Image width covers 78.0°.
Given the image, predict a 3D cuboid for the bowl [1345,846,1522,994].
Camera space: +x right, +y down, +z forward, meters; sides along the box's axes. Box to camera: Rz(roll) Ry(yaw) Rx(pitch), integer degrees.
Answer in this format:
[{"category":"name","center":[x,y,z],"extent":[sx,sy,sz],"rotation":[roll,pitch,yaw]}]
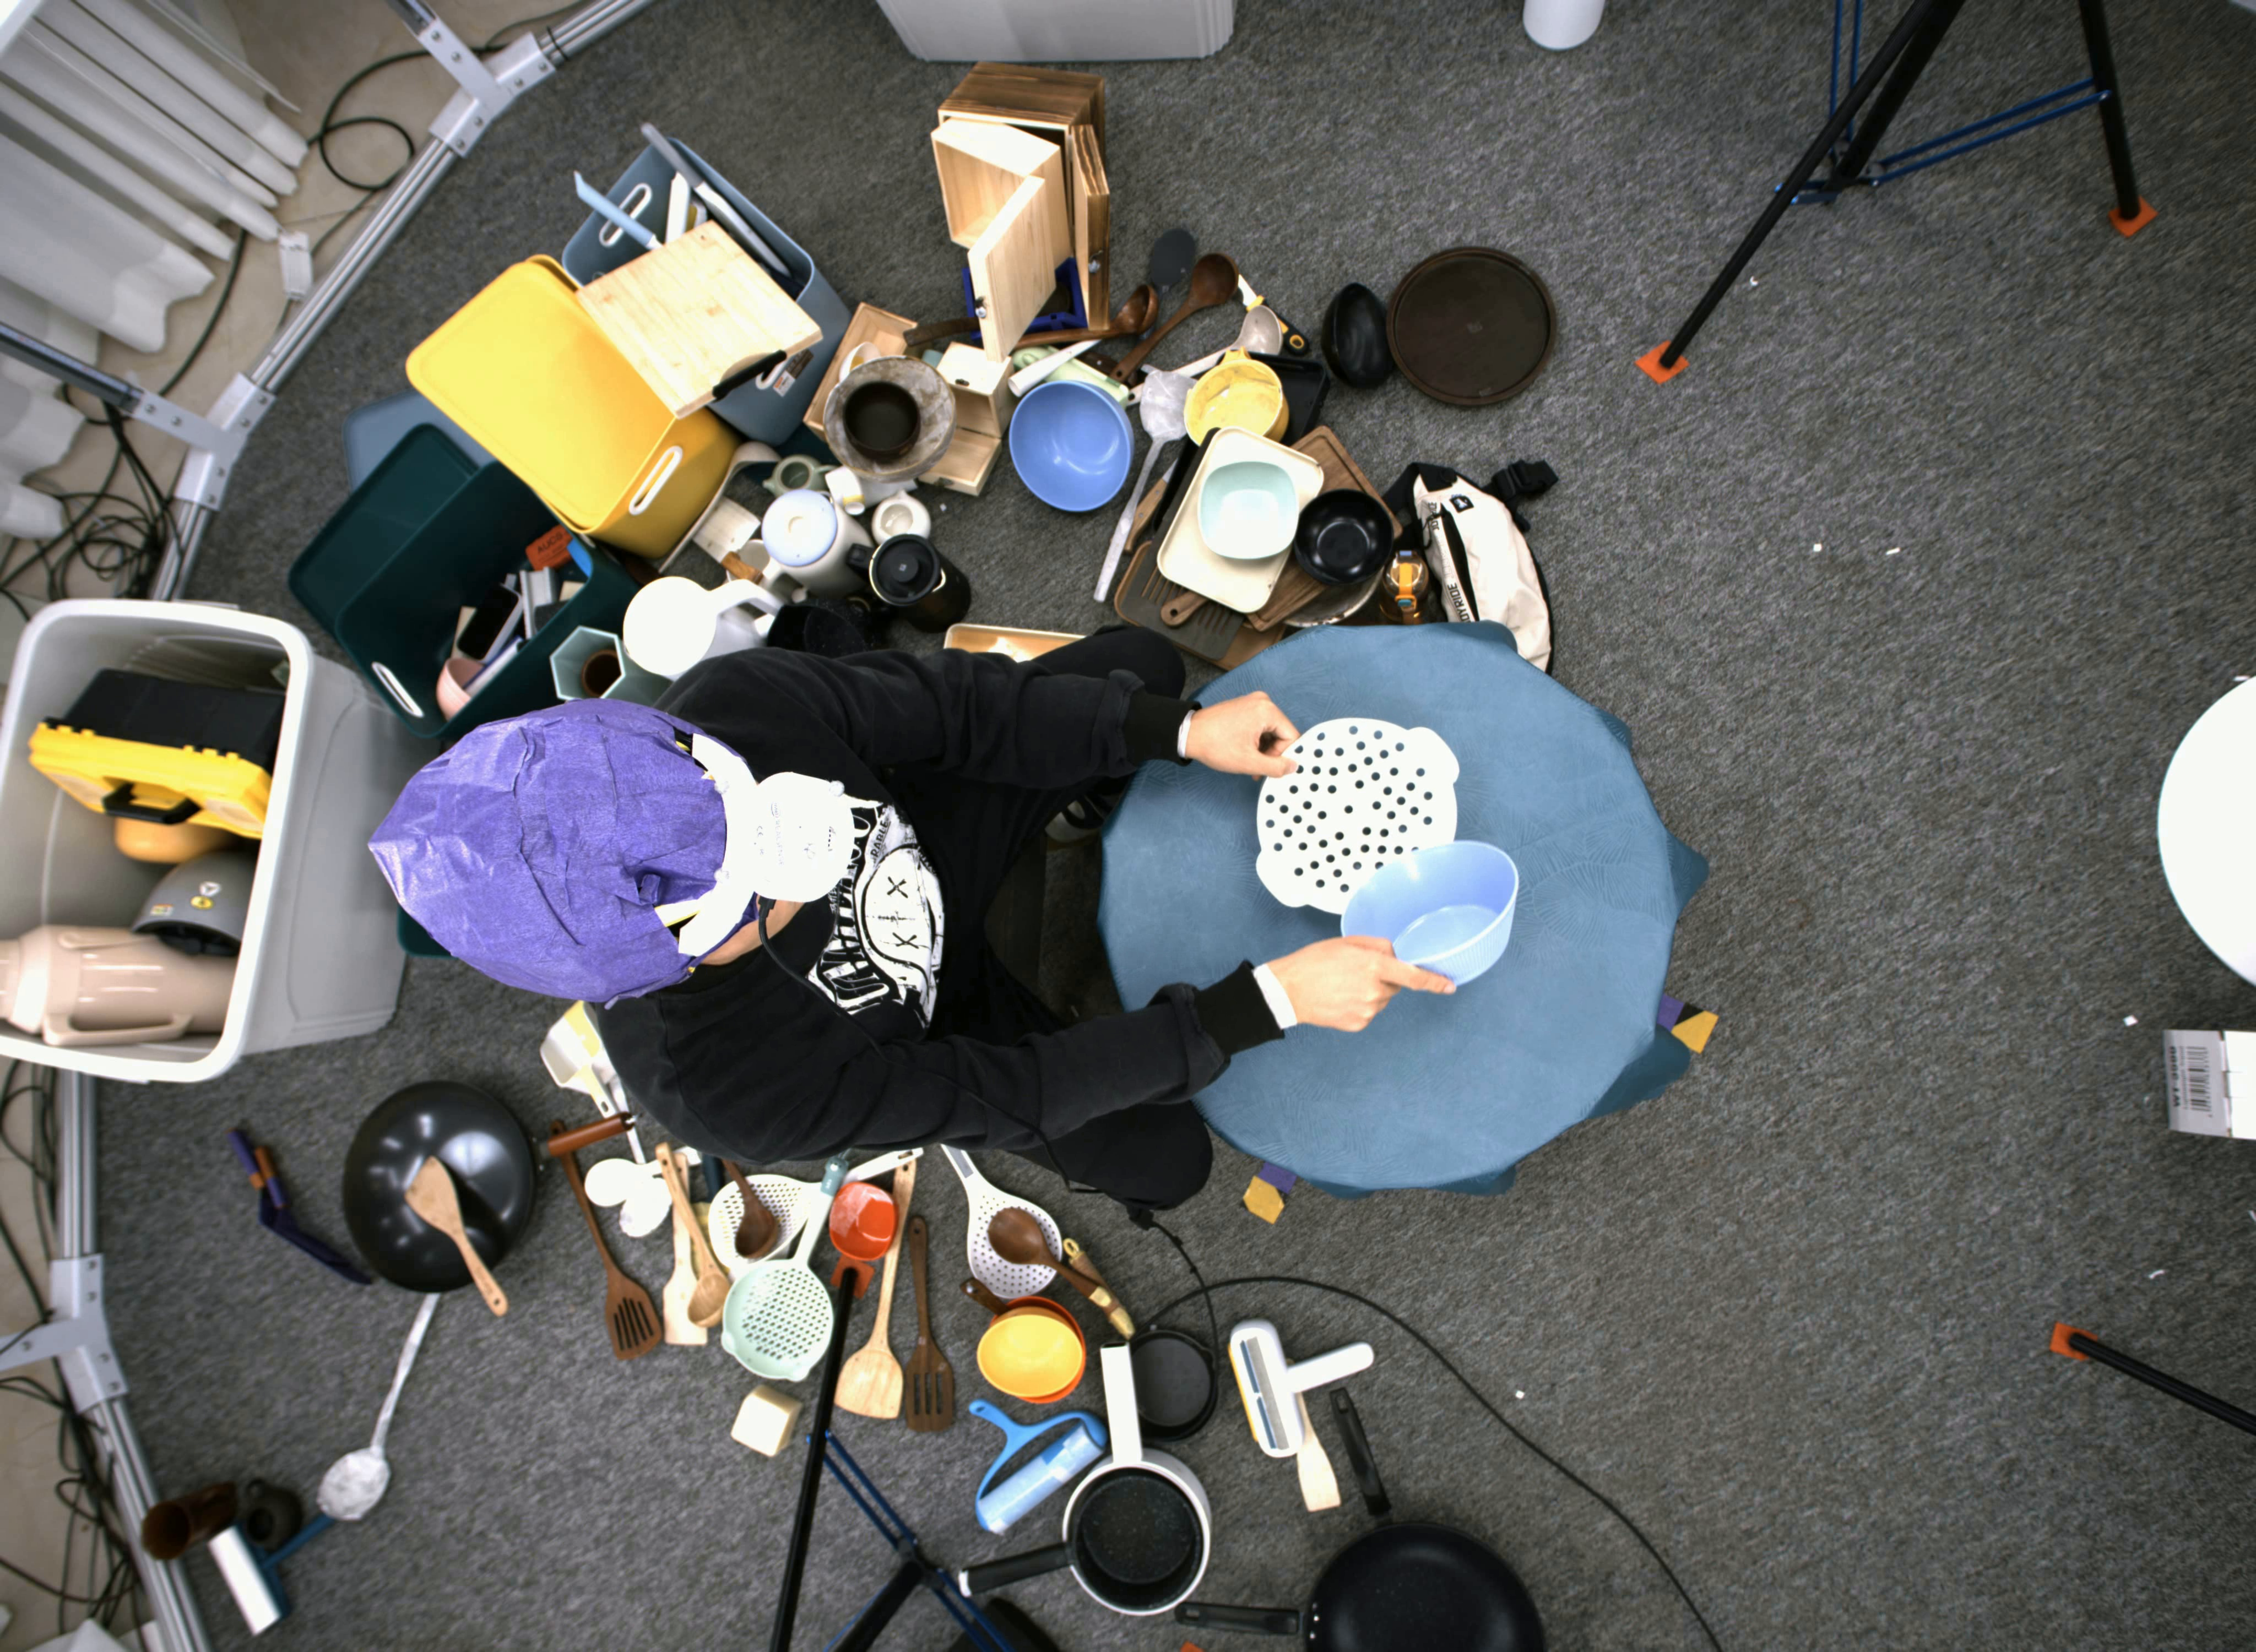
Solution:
[{"category":"bowl","center":[0.302,0.098,1.329],"extent":[0.177,0.172,0.071],"rotation":[-27,117,6]}]

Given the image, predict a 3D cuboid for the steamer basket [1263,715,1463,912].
[{"category":"steamer basket","center":[0.238,-0.015,1.419],"extent":[0.231,0.068,0.202],"rotation":[-41,97,6]}]
